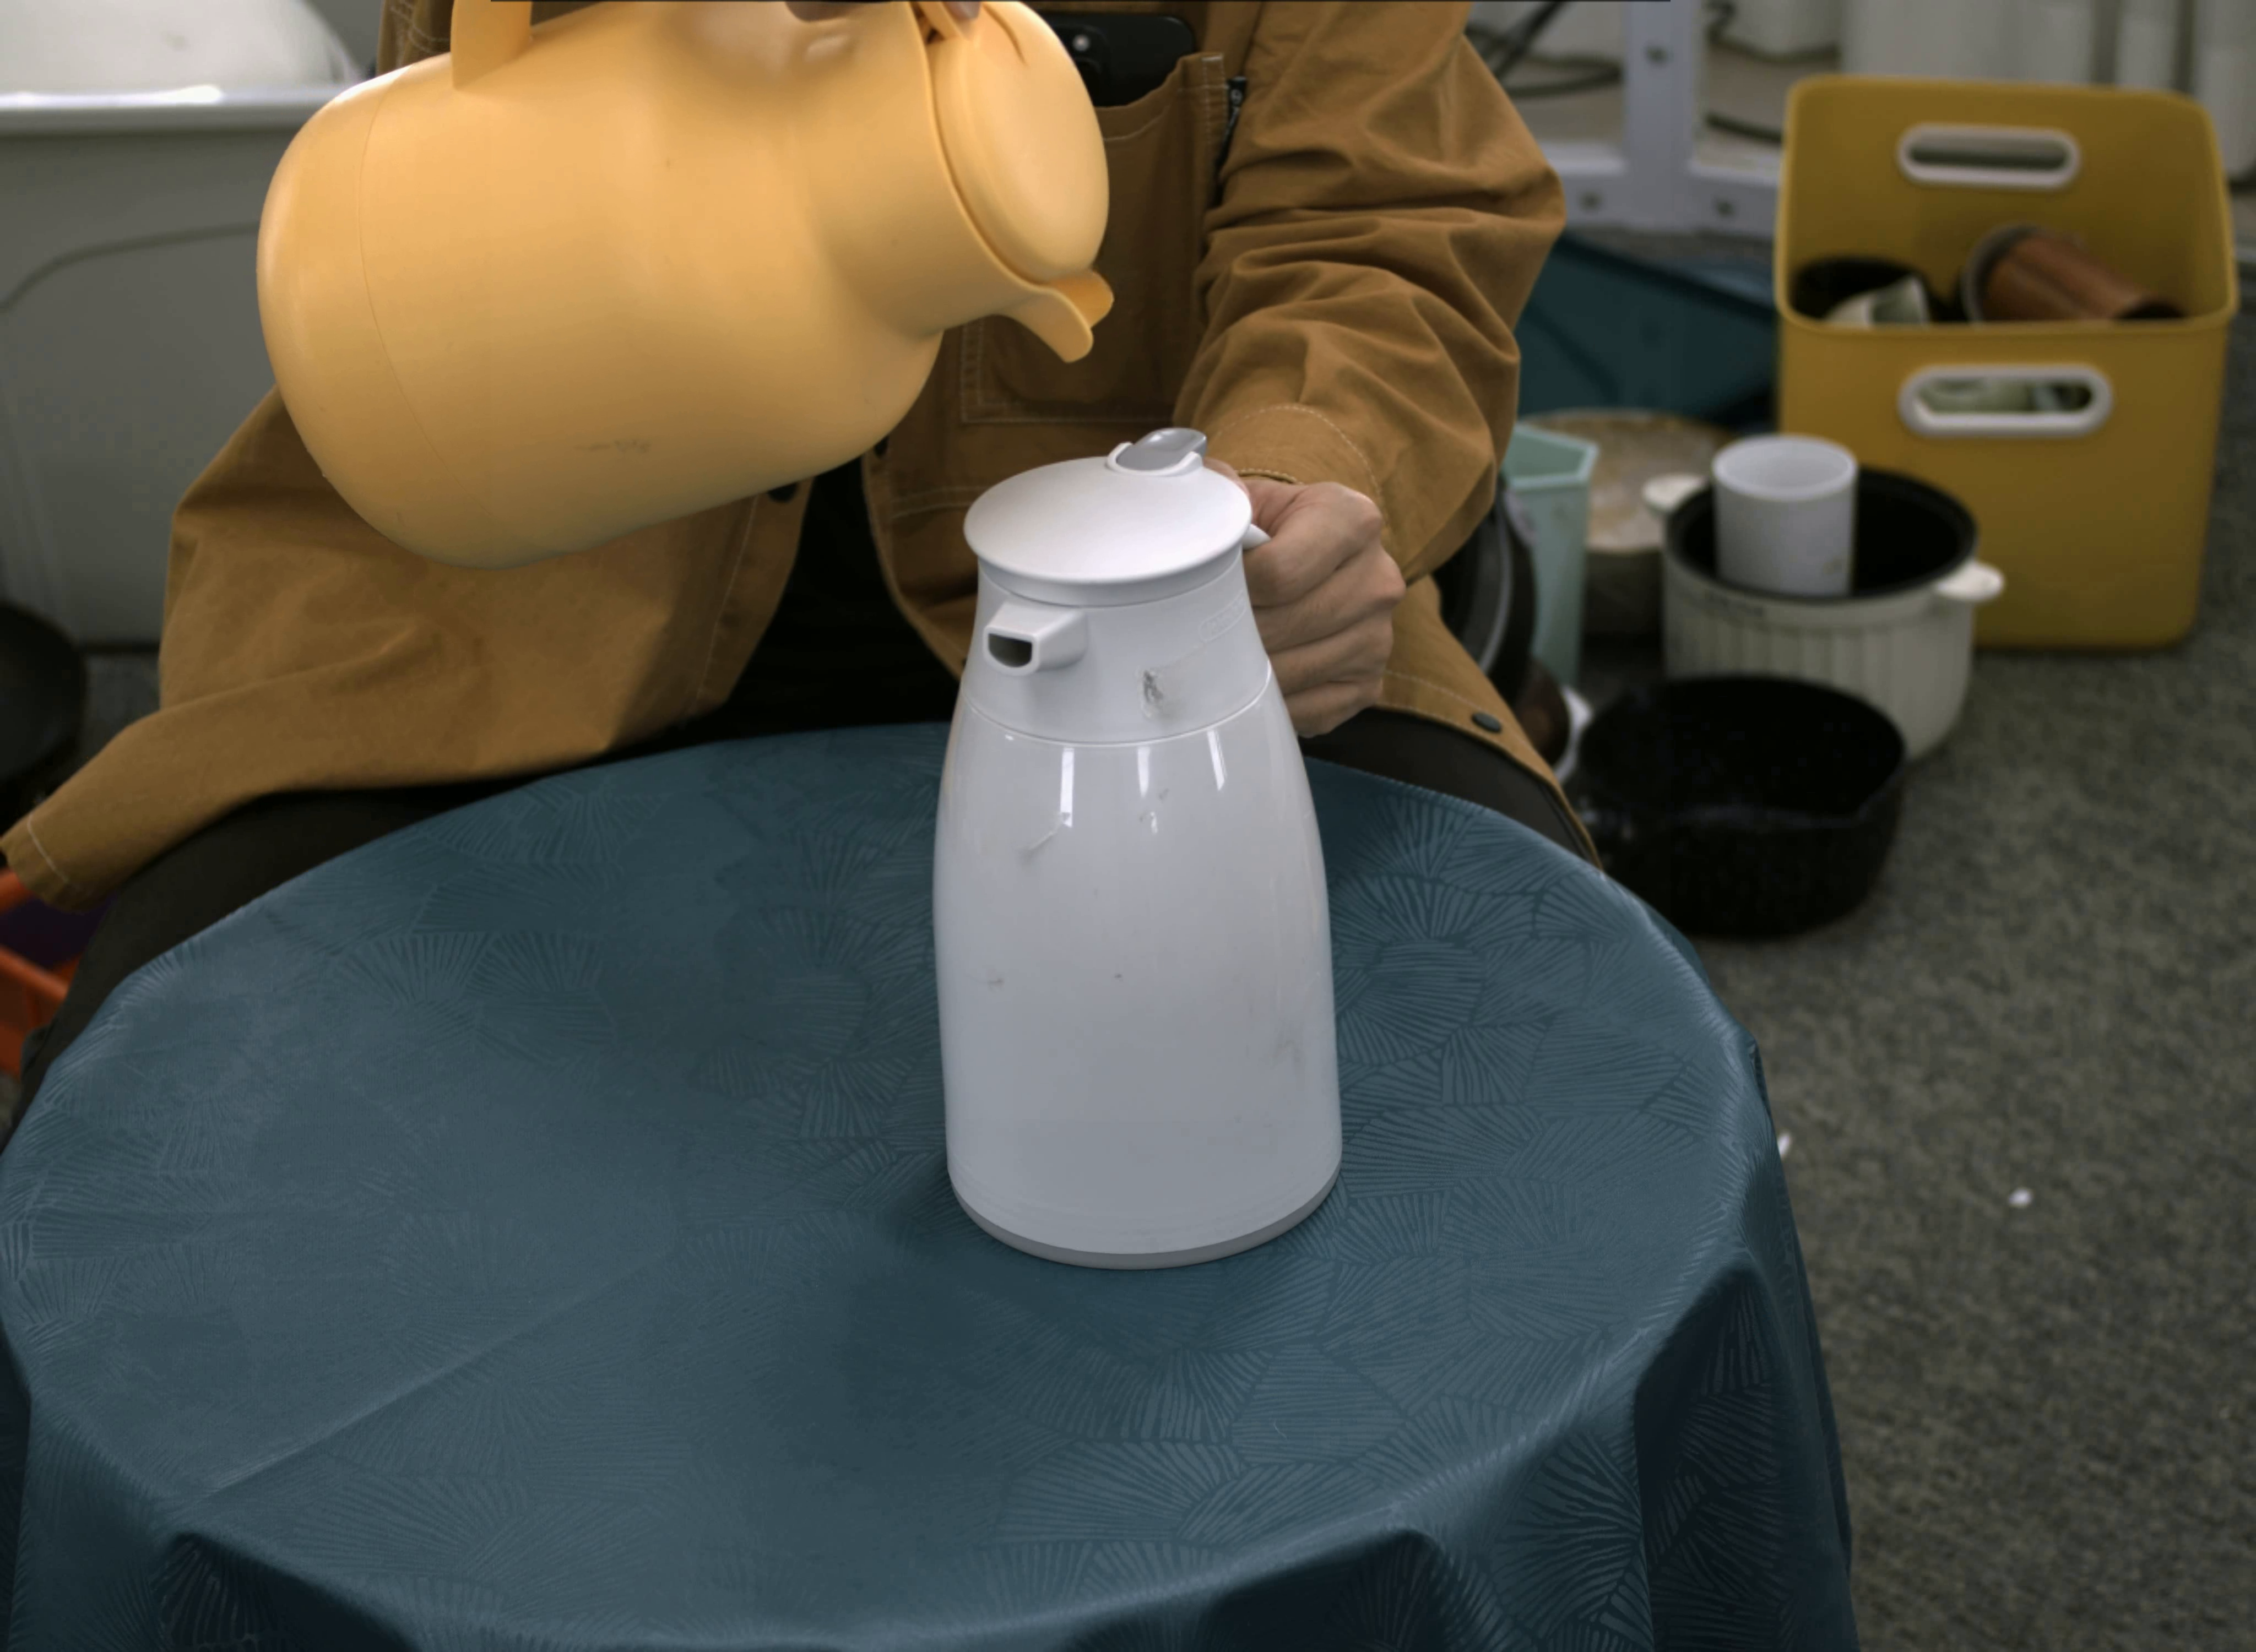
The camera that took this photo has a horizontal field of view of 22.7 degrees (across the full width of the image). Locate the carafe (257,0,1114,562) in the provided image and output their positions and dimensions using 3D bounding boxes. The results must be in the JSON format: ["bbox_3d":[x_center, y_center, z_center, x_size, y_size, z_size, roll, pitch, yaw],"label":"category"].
[{"bbox_3d":[-0.141,-0.202,1.756,0.257,0.201,0.166,-15,26,24],"label":"carafe"}]

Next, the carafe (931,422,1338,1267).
[{"bbox_3d":[0.007,-0.005,1.835,0.132,0.246,0.170,11,29,27],"label":"carafe"}]
